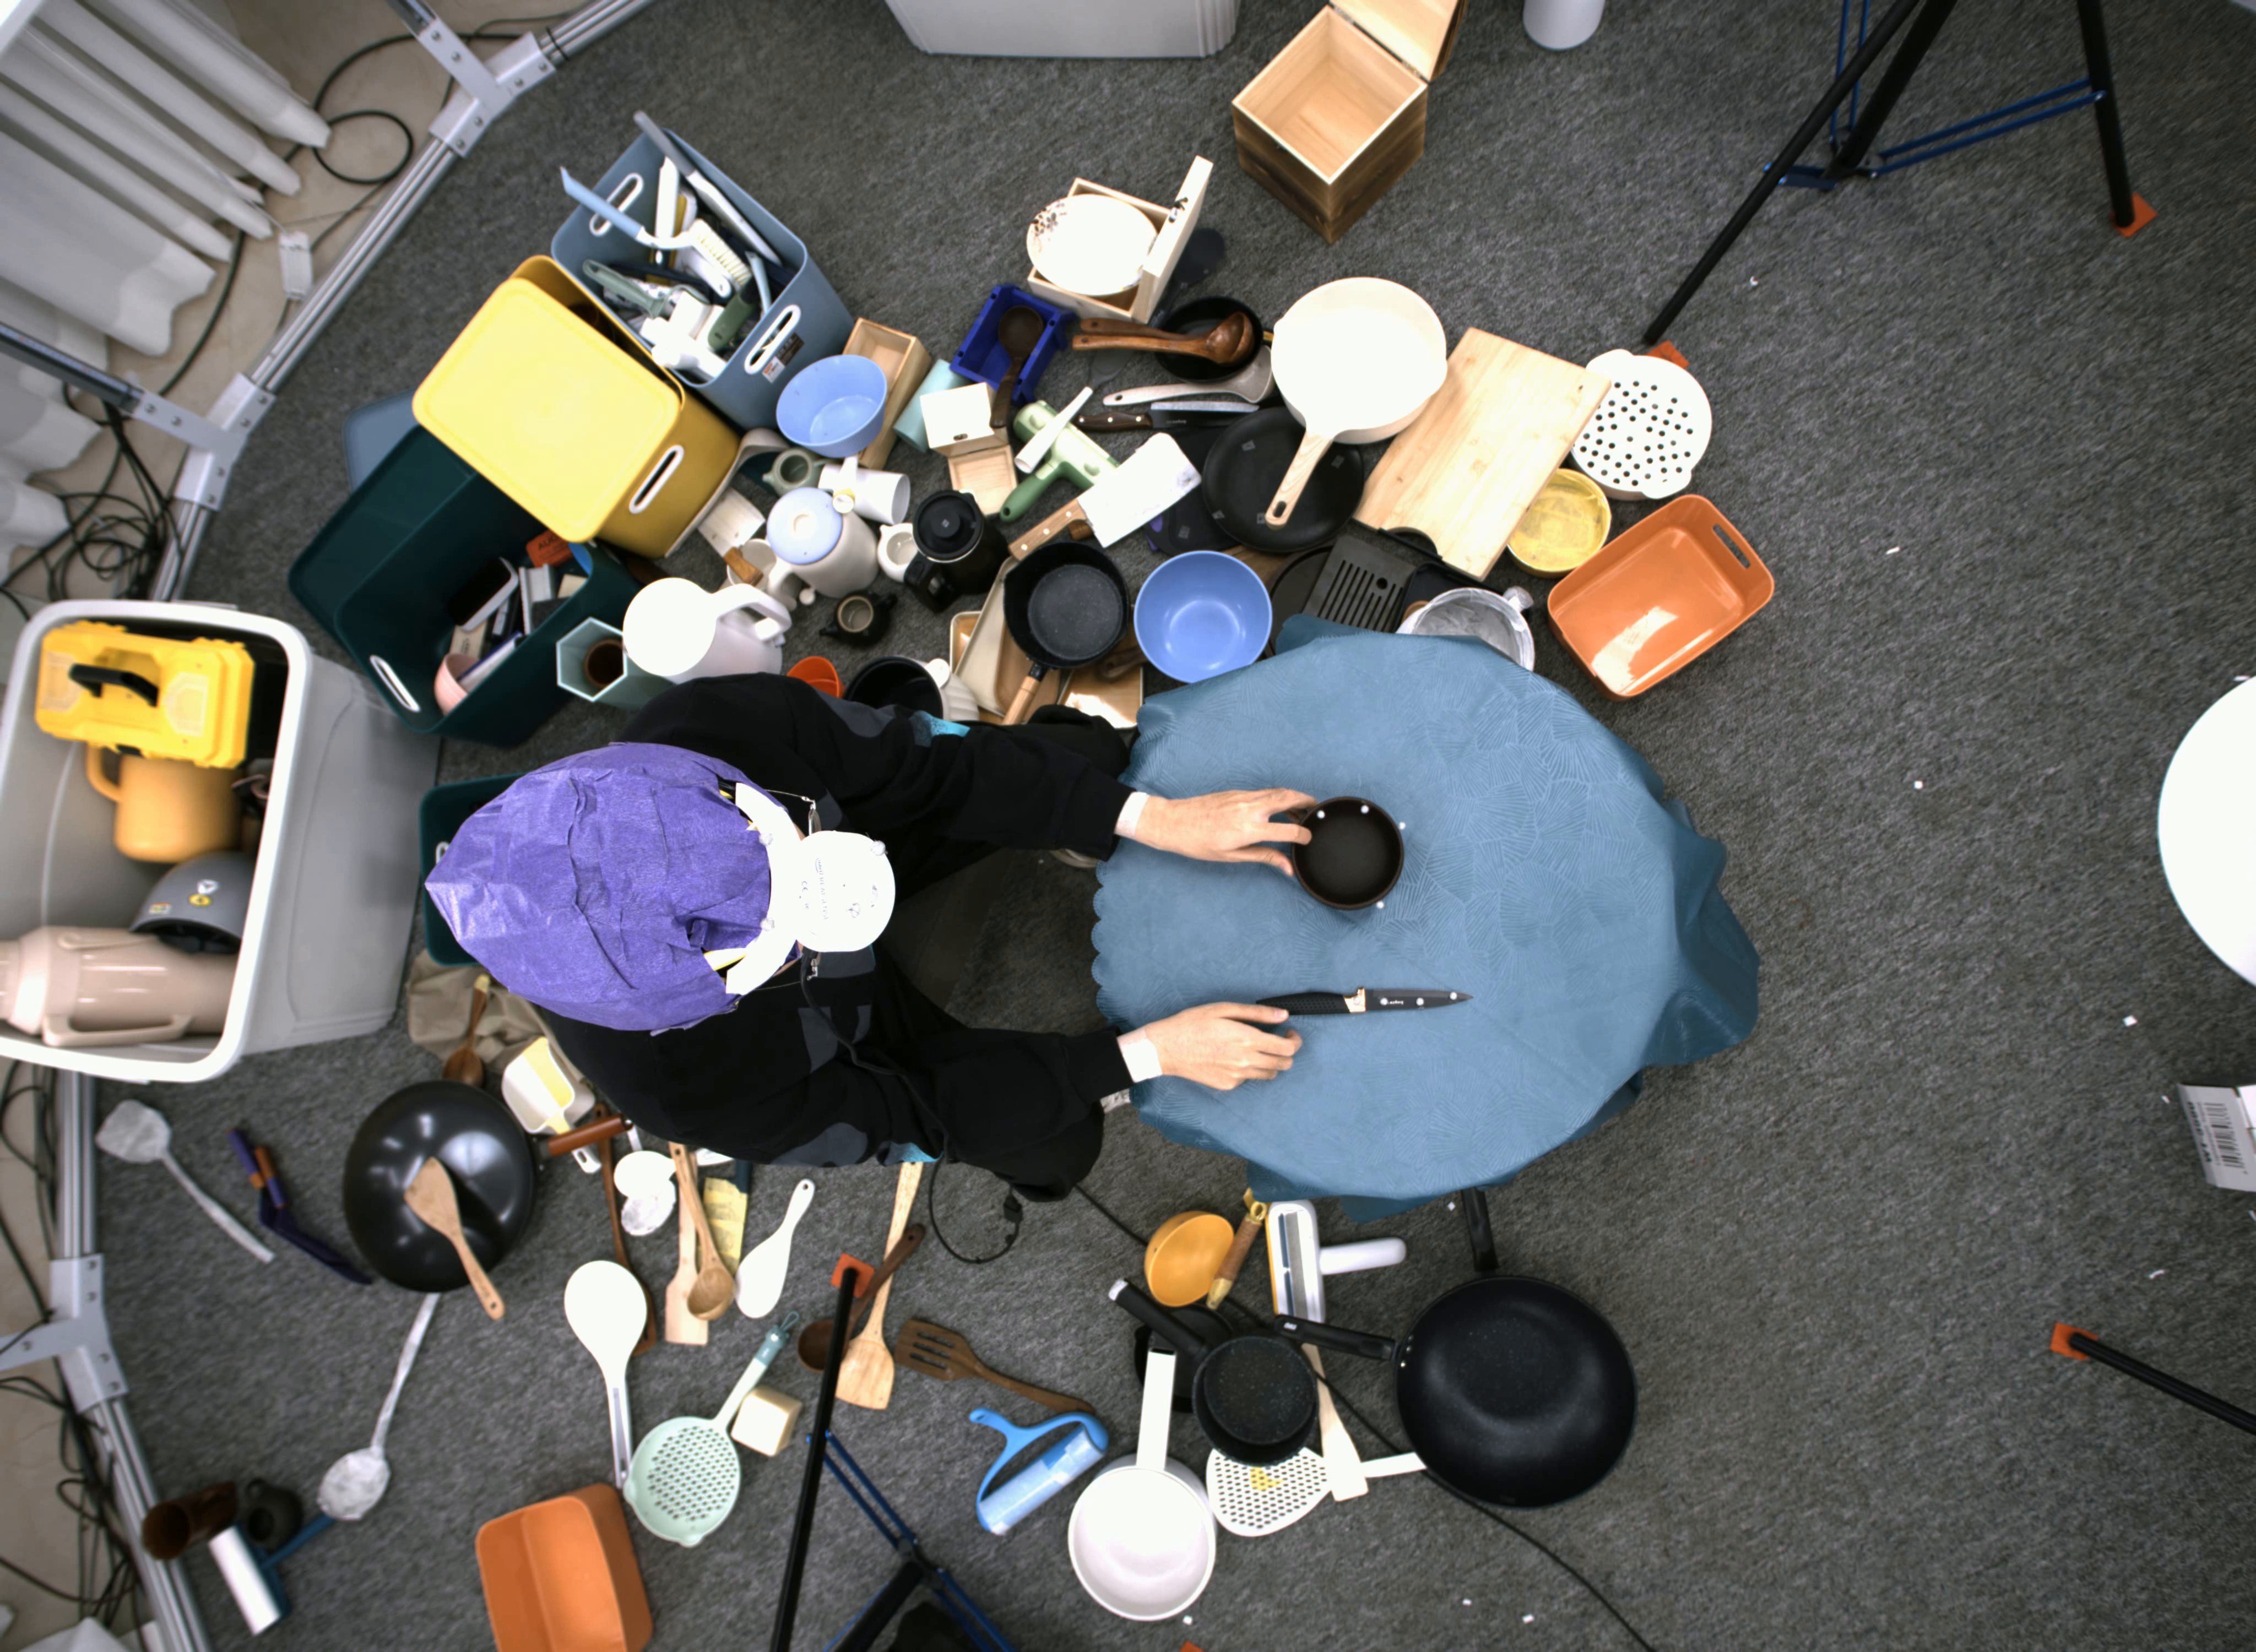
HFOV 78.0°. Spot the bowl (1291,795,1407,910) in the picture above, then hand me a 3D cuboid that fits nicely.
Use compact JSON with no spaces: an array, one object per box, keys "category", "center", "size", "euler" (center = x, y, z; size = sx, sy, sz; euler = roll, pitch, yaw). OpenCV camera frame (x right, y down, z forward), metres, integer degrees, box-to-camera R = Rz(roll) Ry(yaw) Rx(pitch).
[{"category":"bowl","center":[0.229,0.028,1.432],"size":[0.118,0.070,0.117],"euler":[-1,85,12]}]

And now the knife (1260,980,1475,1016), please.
[{"category":"knife","center":[0.251,0.180,1.452],"size":[0.226,0.017,0.026],"euler":[-6,77,9]}]
